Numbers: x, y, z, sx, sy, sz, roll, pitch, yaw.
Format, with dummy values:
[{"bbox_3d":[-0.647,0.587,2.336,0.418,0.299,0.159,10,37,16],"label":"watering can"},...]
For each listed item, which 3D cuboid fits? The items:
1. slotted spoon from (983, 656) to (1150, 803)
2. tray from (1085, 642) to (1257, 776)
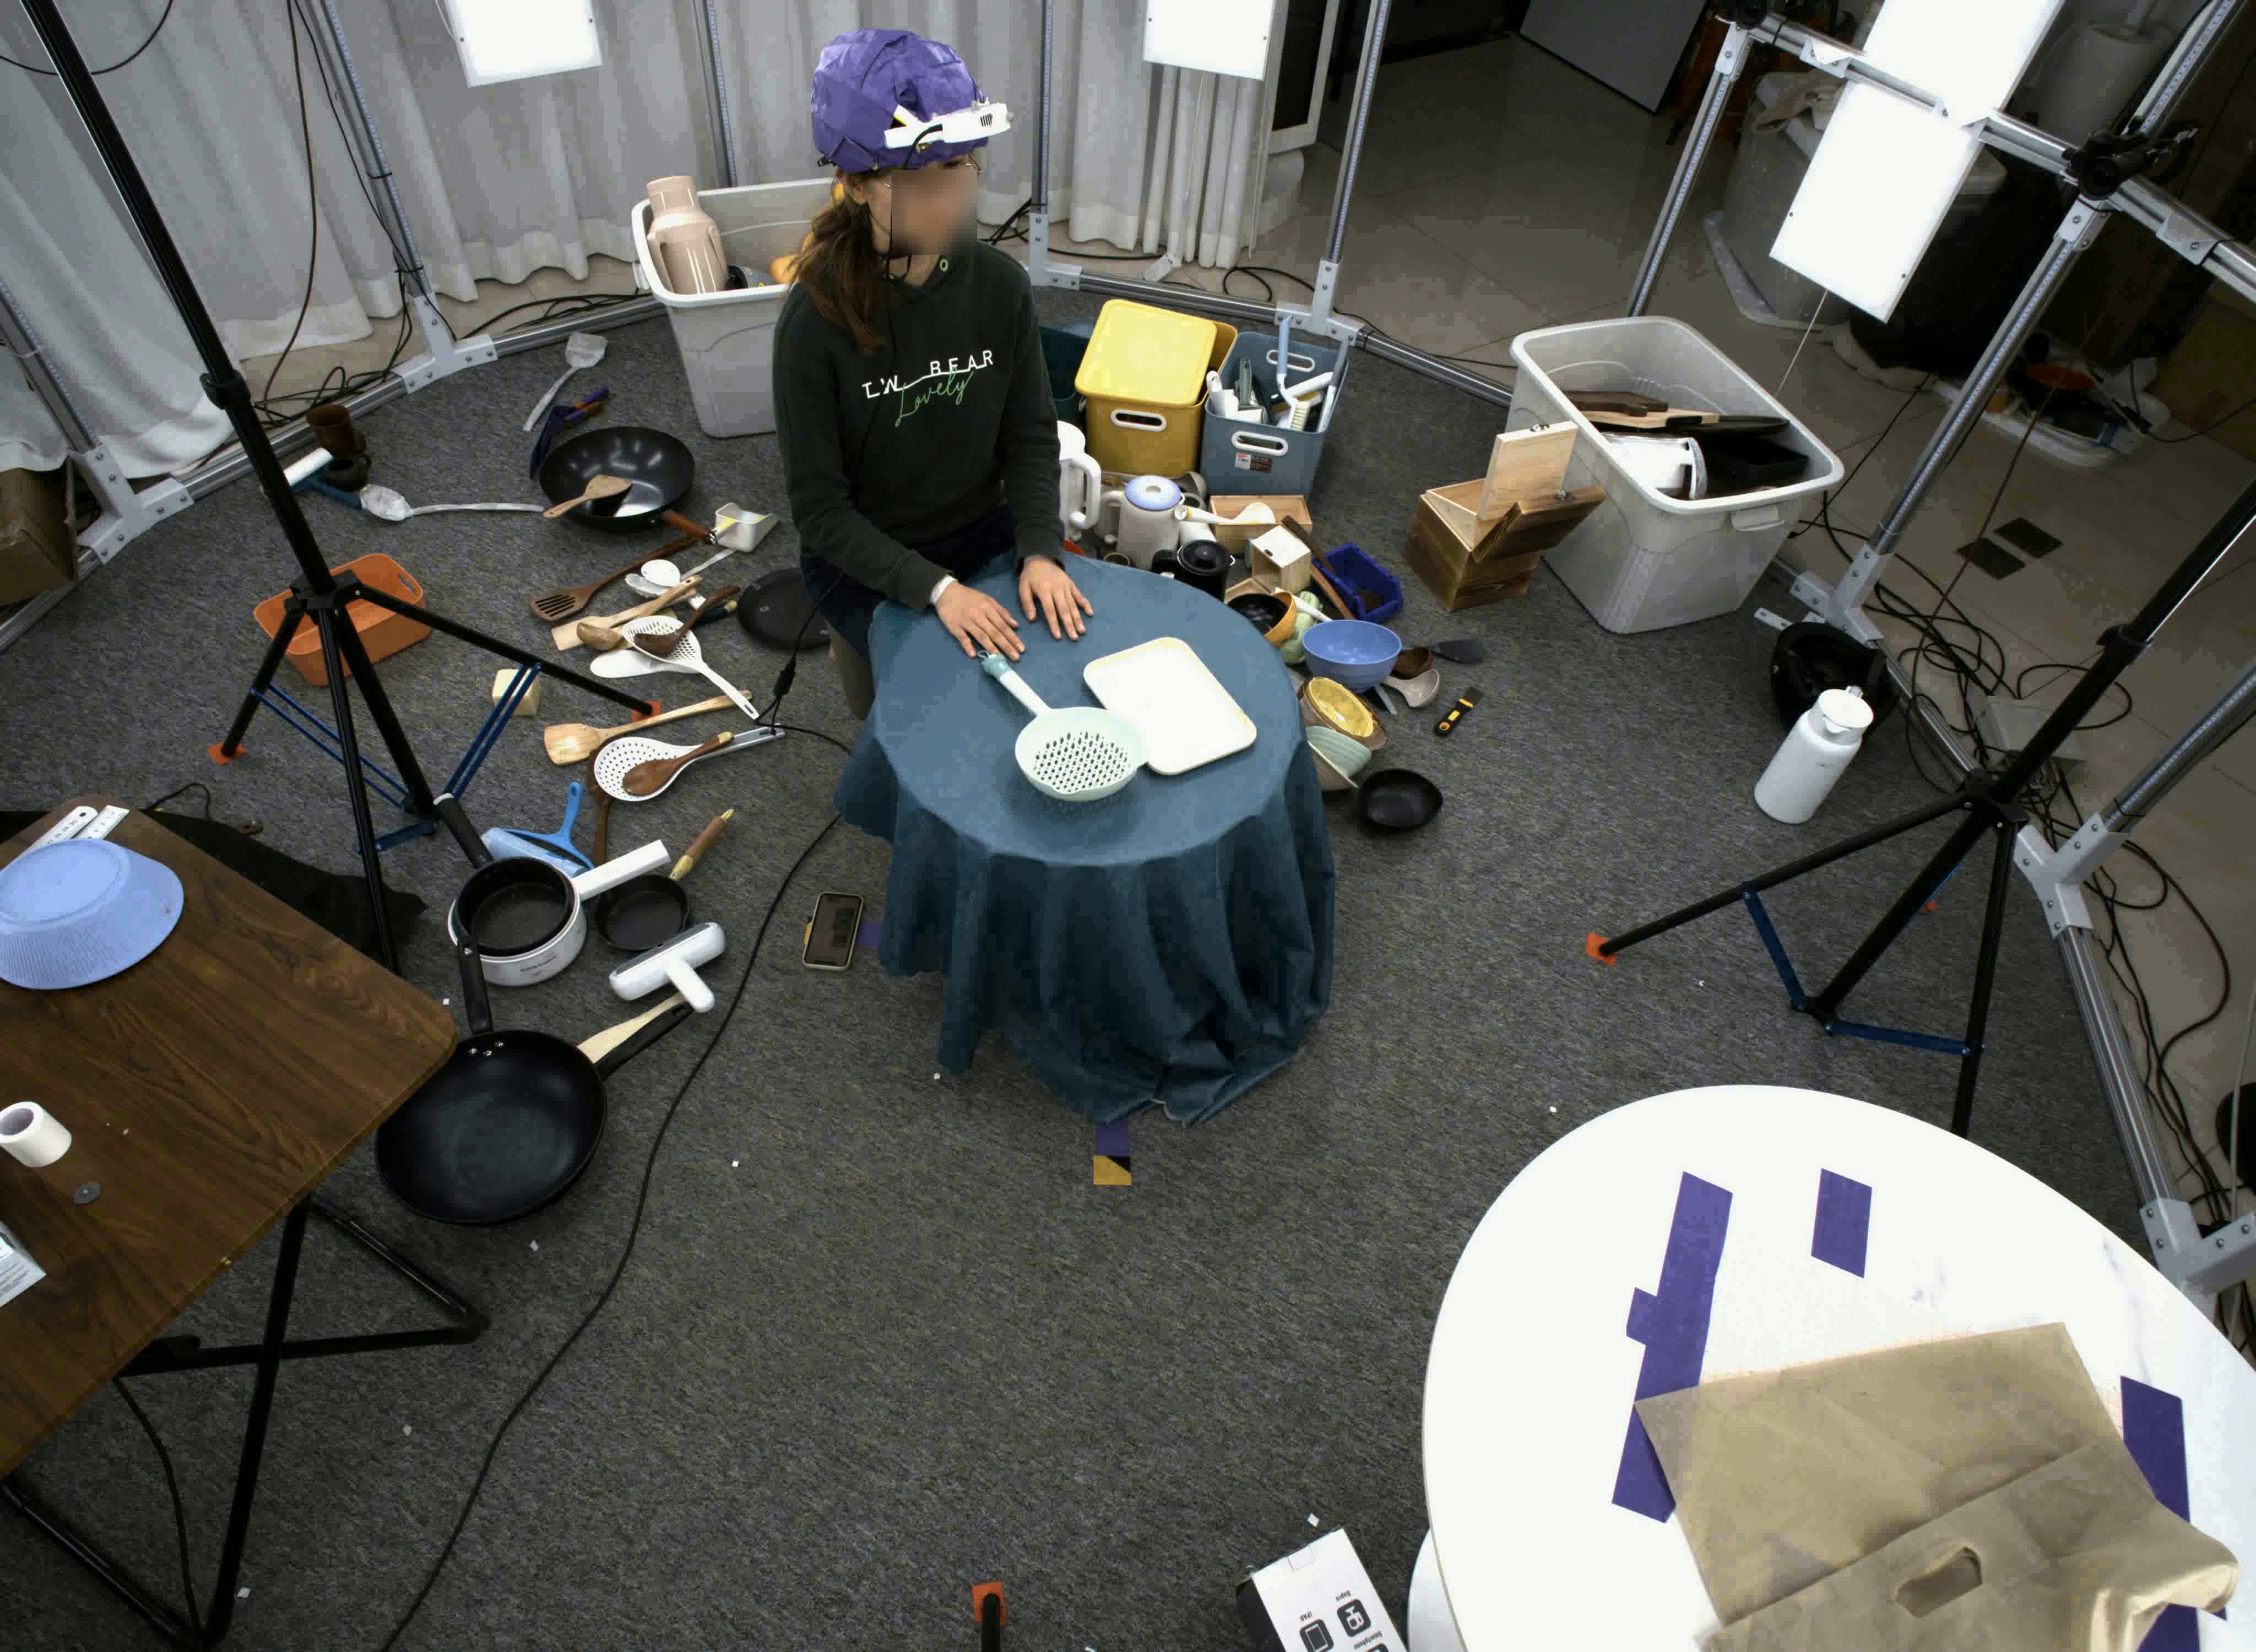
[{"bbox_3d":[-0.114,-0.149,1.766,0.170,0.073,0.366,-22,53,-23],"label":"slotted spoon"},{"bbox_3d":[0.059,-0.168,1.824,0.172,0.017,0.245,-21,52,-21],"label":"tray"}]
